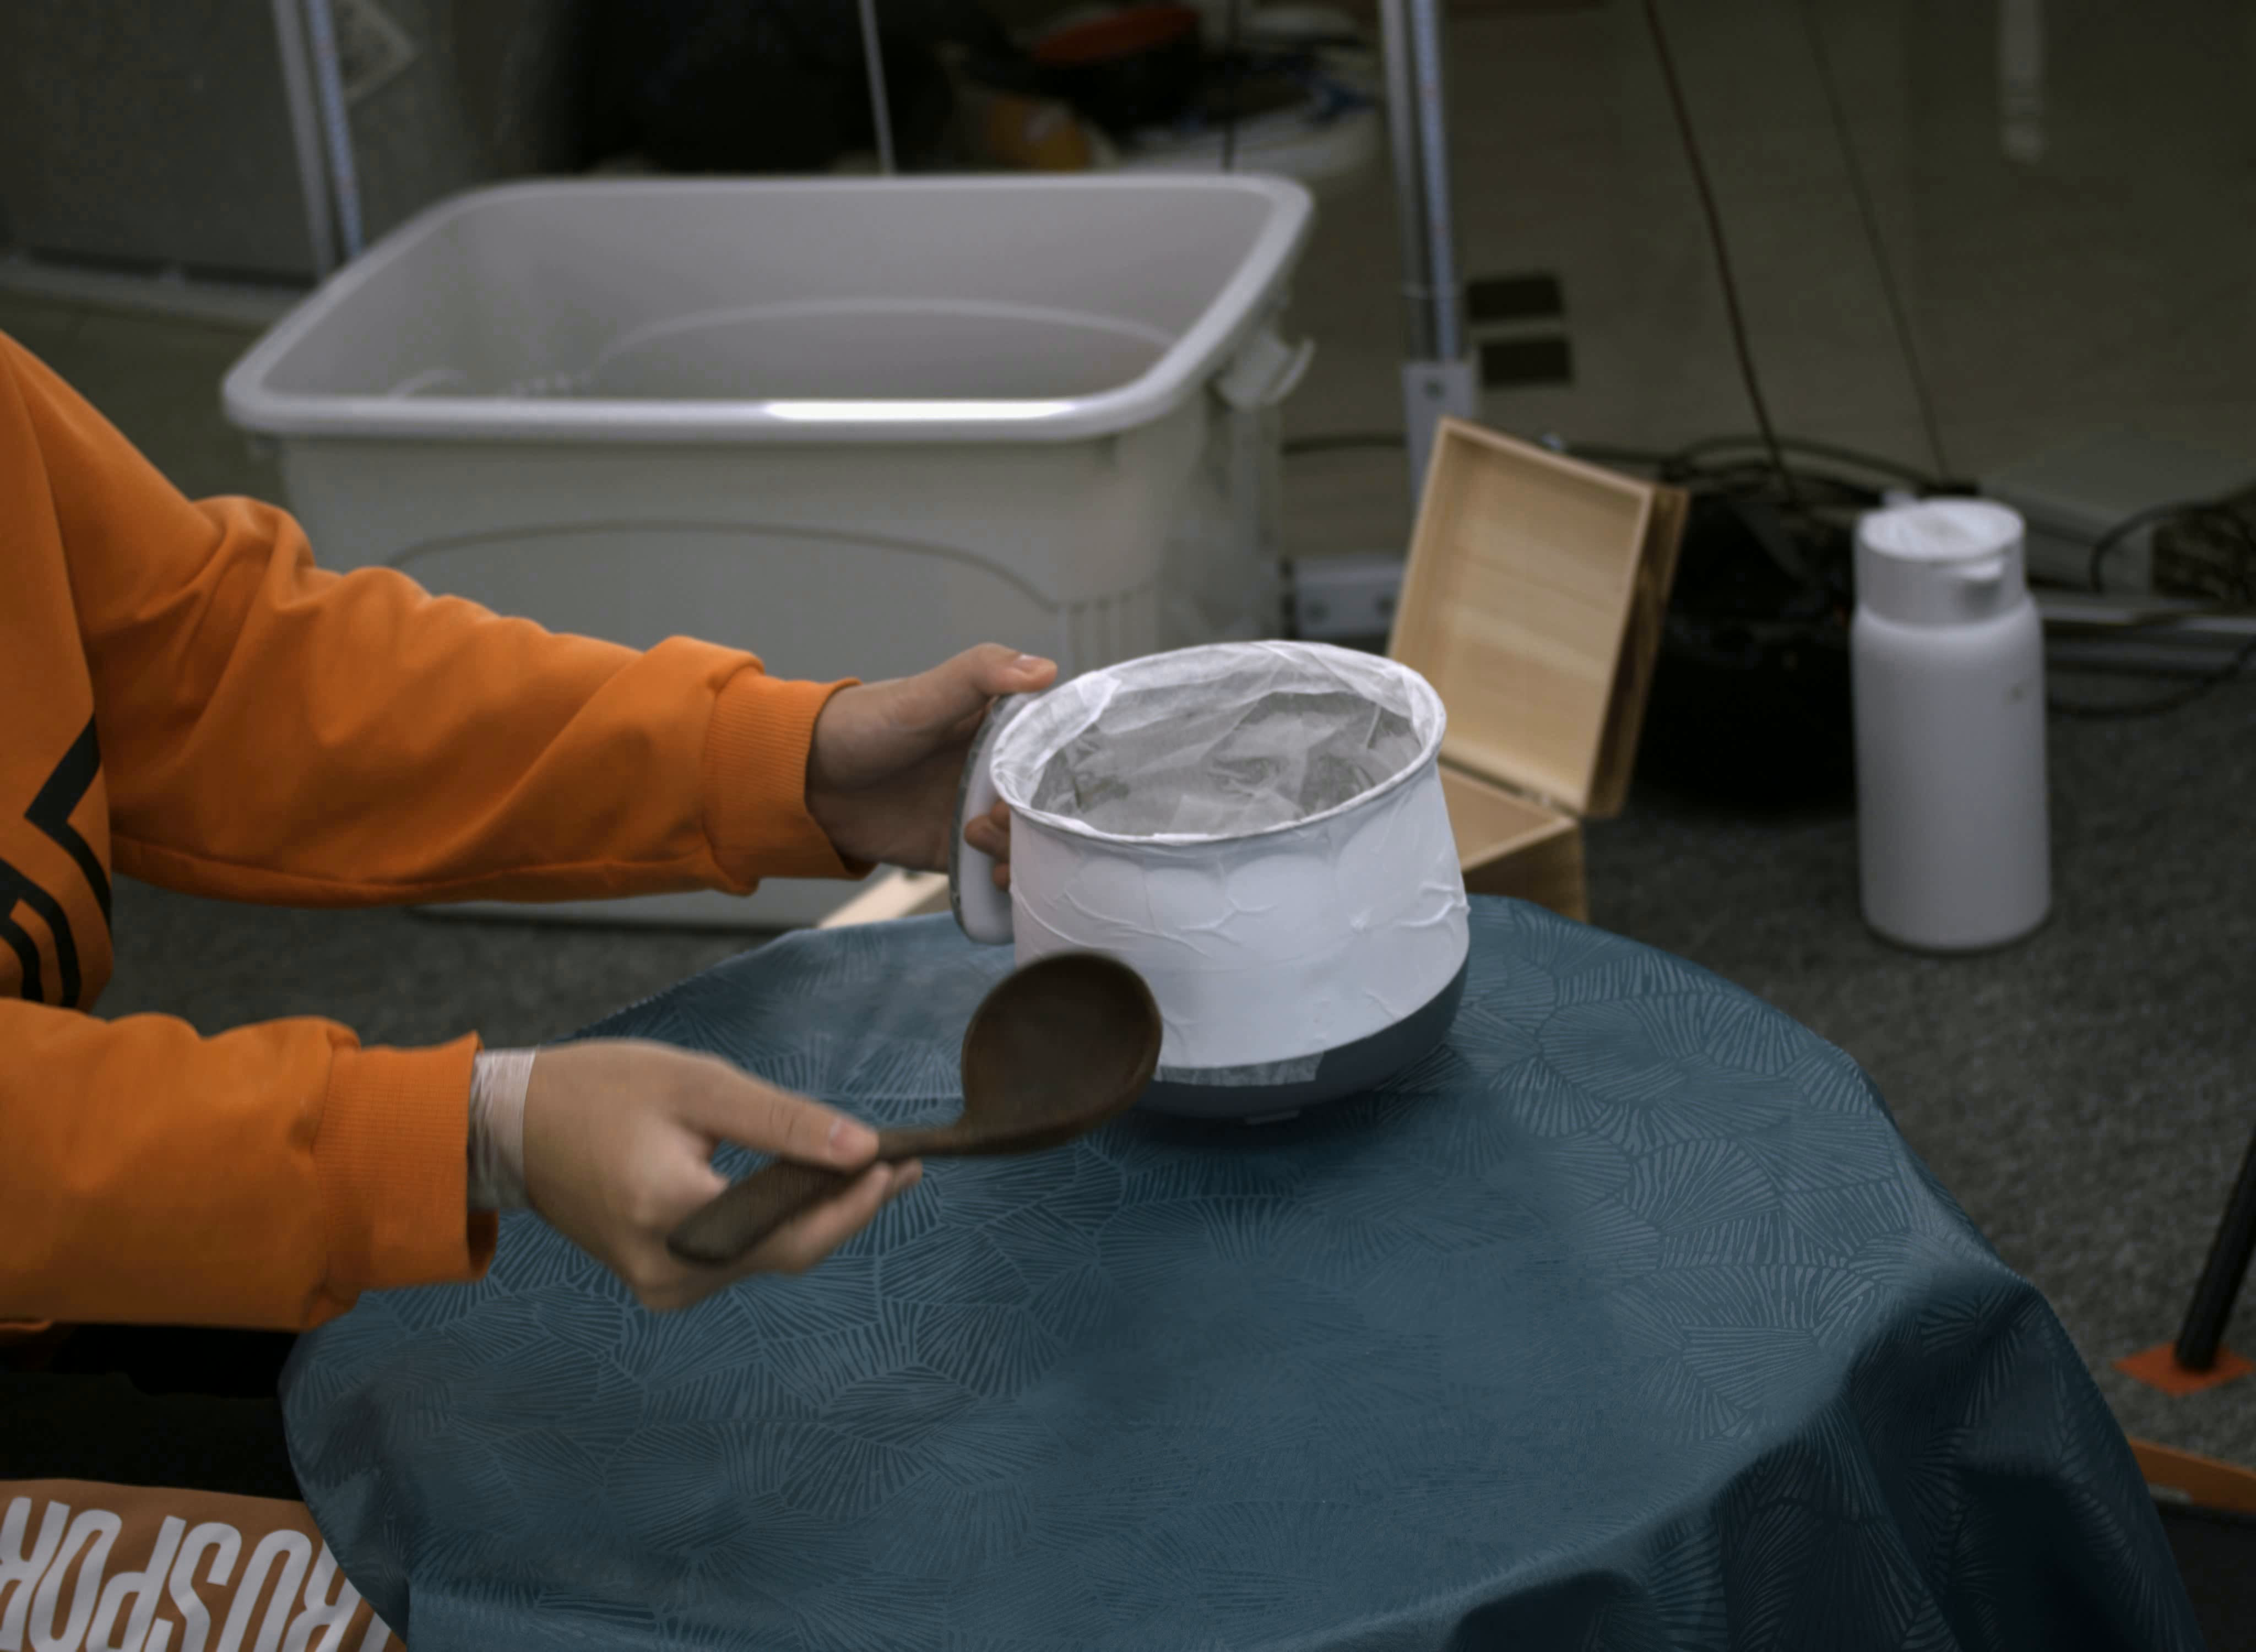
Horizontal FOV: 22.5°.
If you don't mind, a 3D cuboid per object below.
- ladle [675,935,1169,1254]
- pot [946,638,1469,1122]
[{"bbox_3d":[-0.072,0.088,1.946,0.076,0.072,0.273,9,11,27],"label":"ladle"},{"bbox_3d":[0.020,0.017,2.209,0.232,0.139,0.177,14,33,37],"label":"pot"}]
